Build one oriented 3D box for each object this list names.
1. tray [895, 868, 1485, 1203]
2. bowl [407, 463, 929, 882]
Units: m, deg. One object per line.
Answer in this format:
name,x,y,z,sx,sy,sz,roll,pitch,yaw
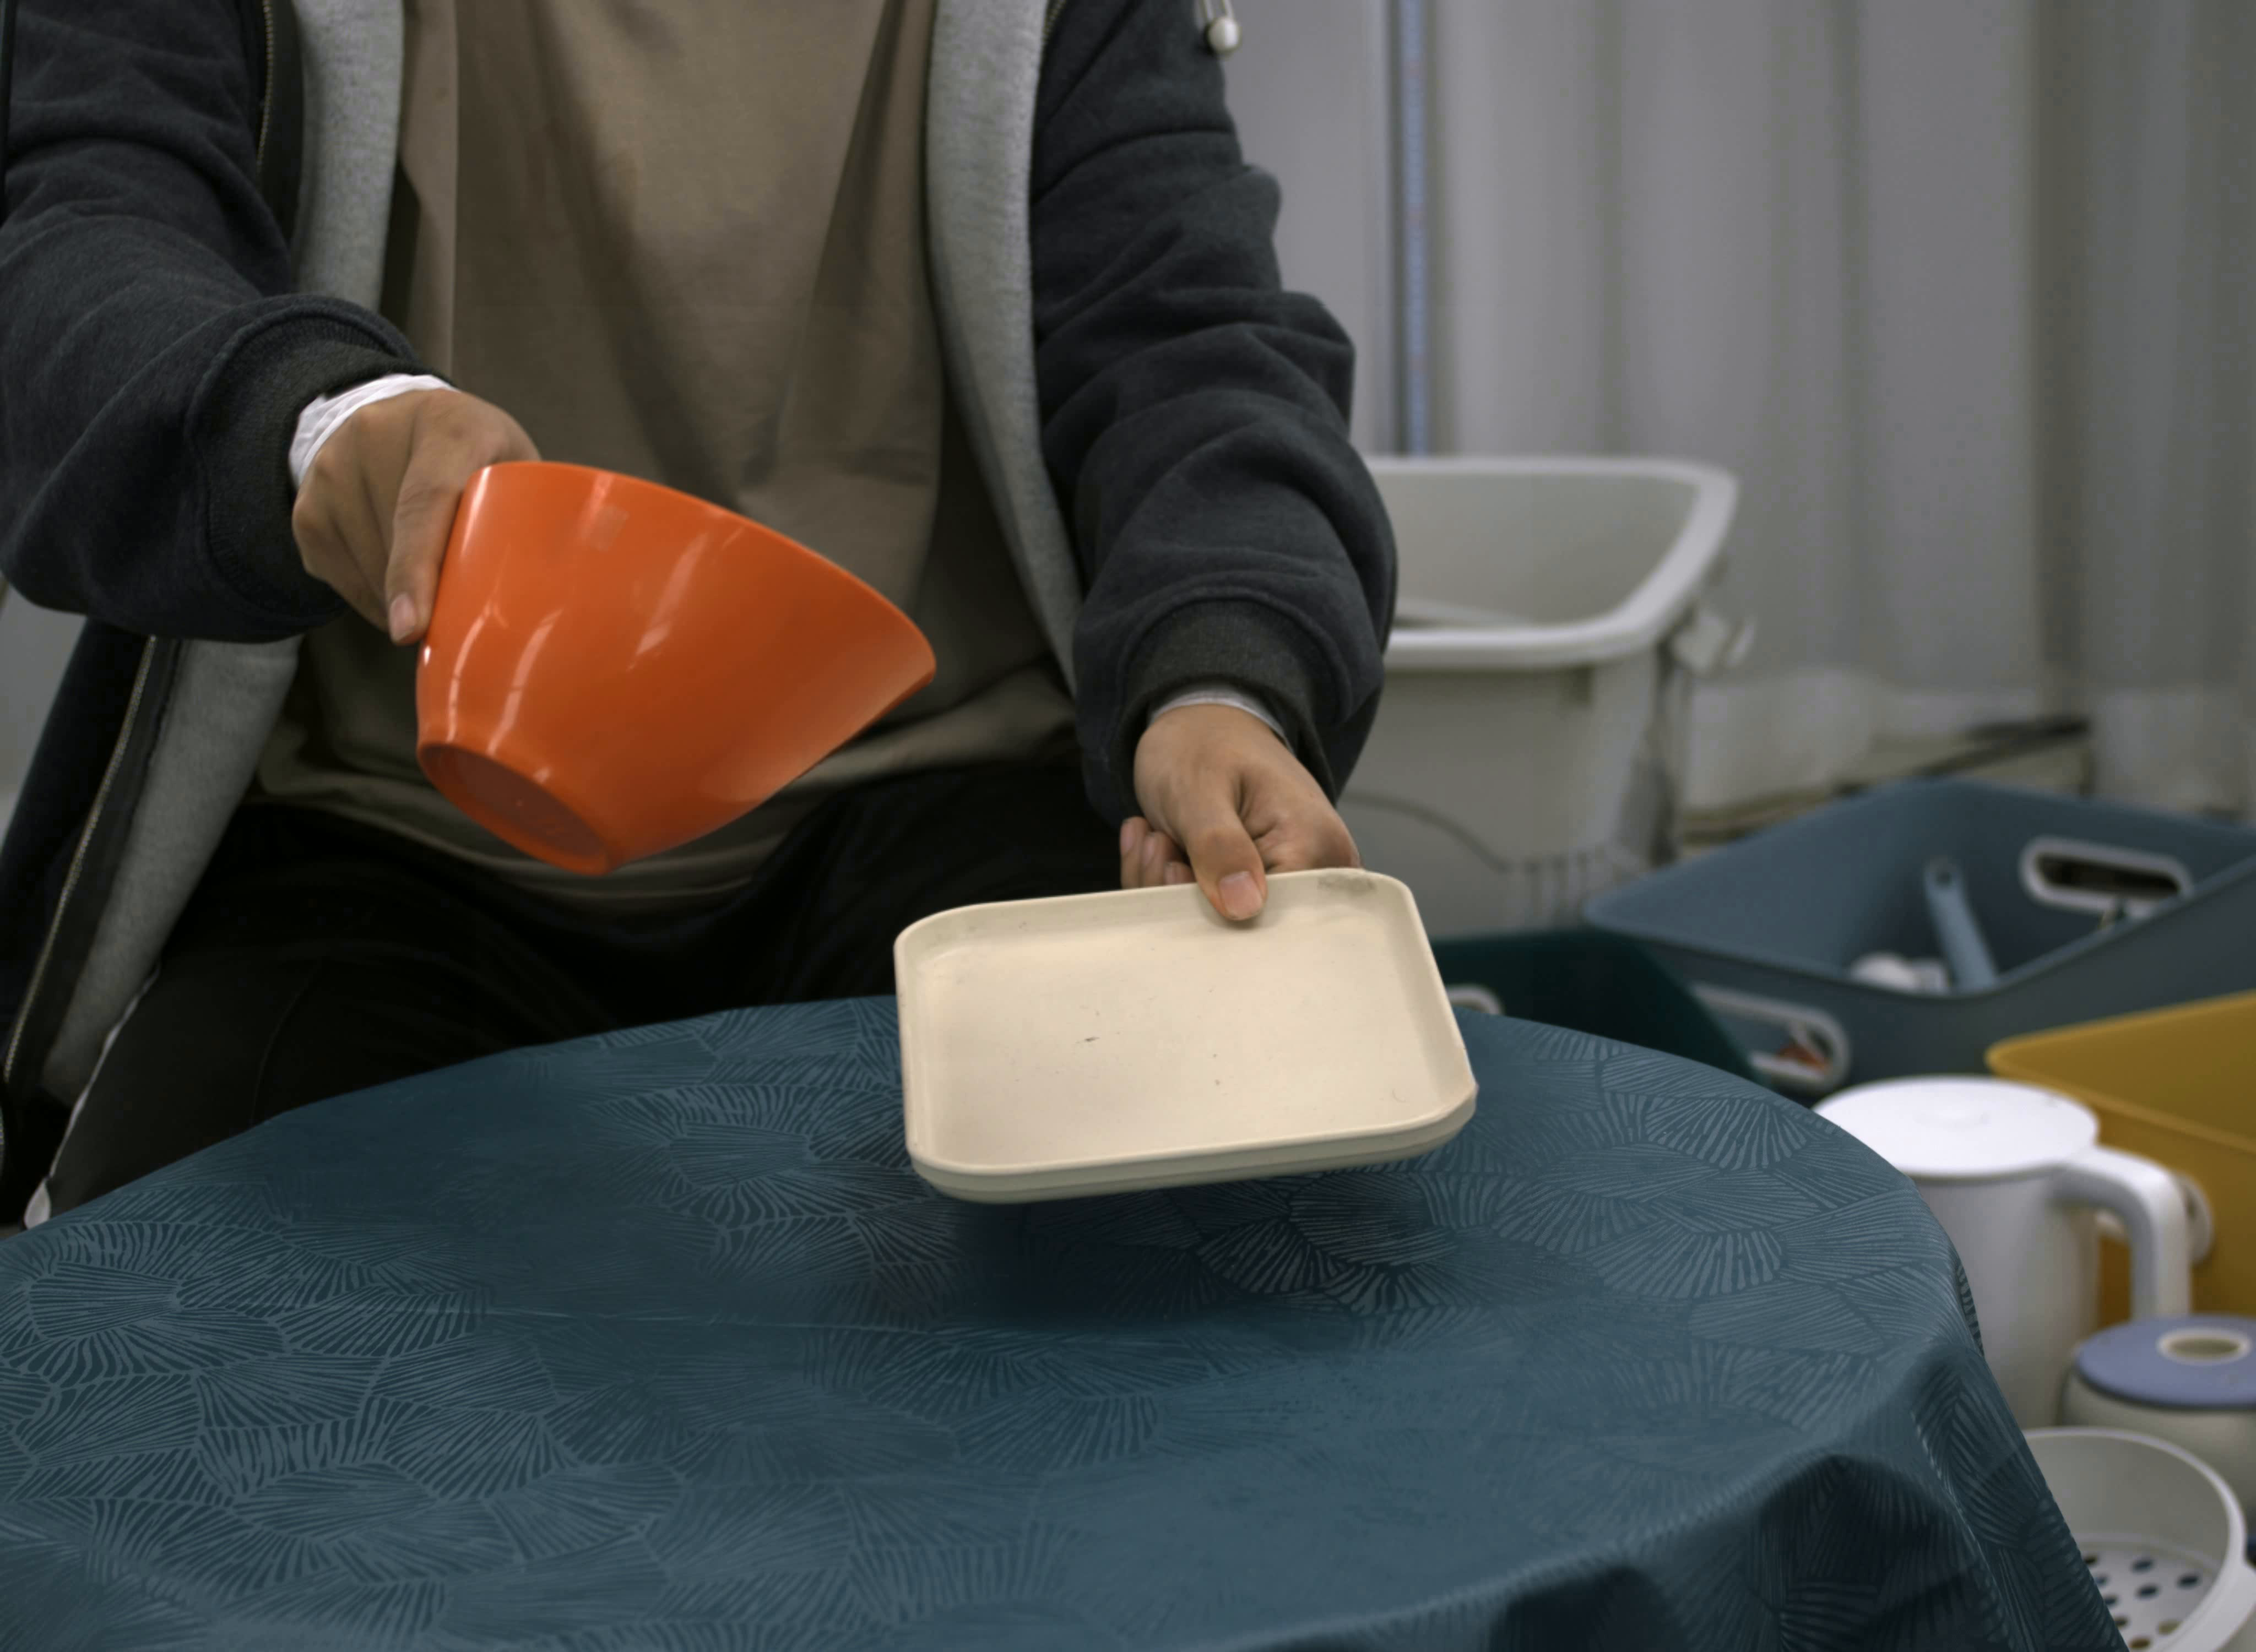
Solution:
tray,0.015,0.063,1.691,0.171,0.017,0.241,-6,18,-2
bowl,-0.147,-0.037,1.608,0.149,0.146,0.105,12,63,44
